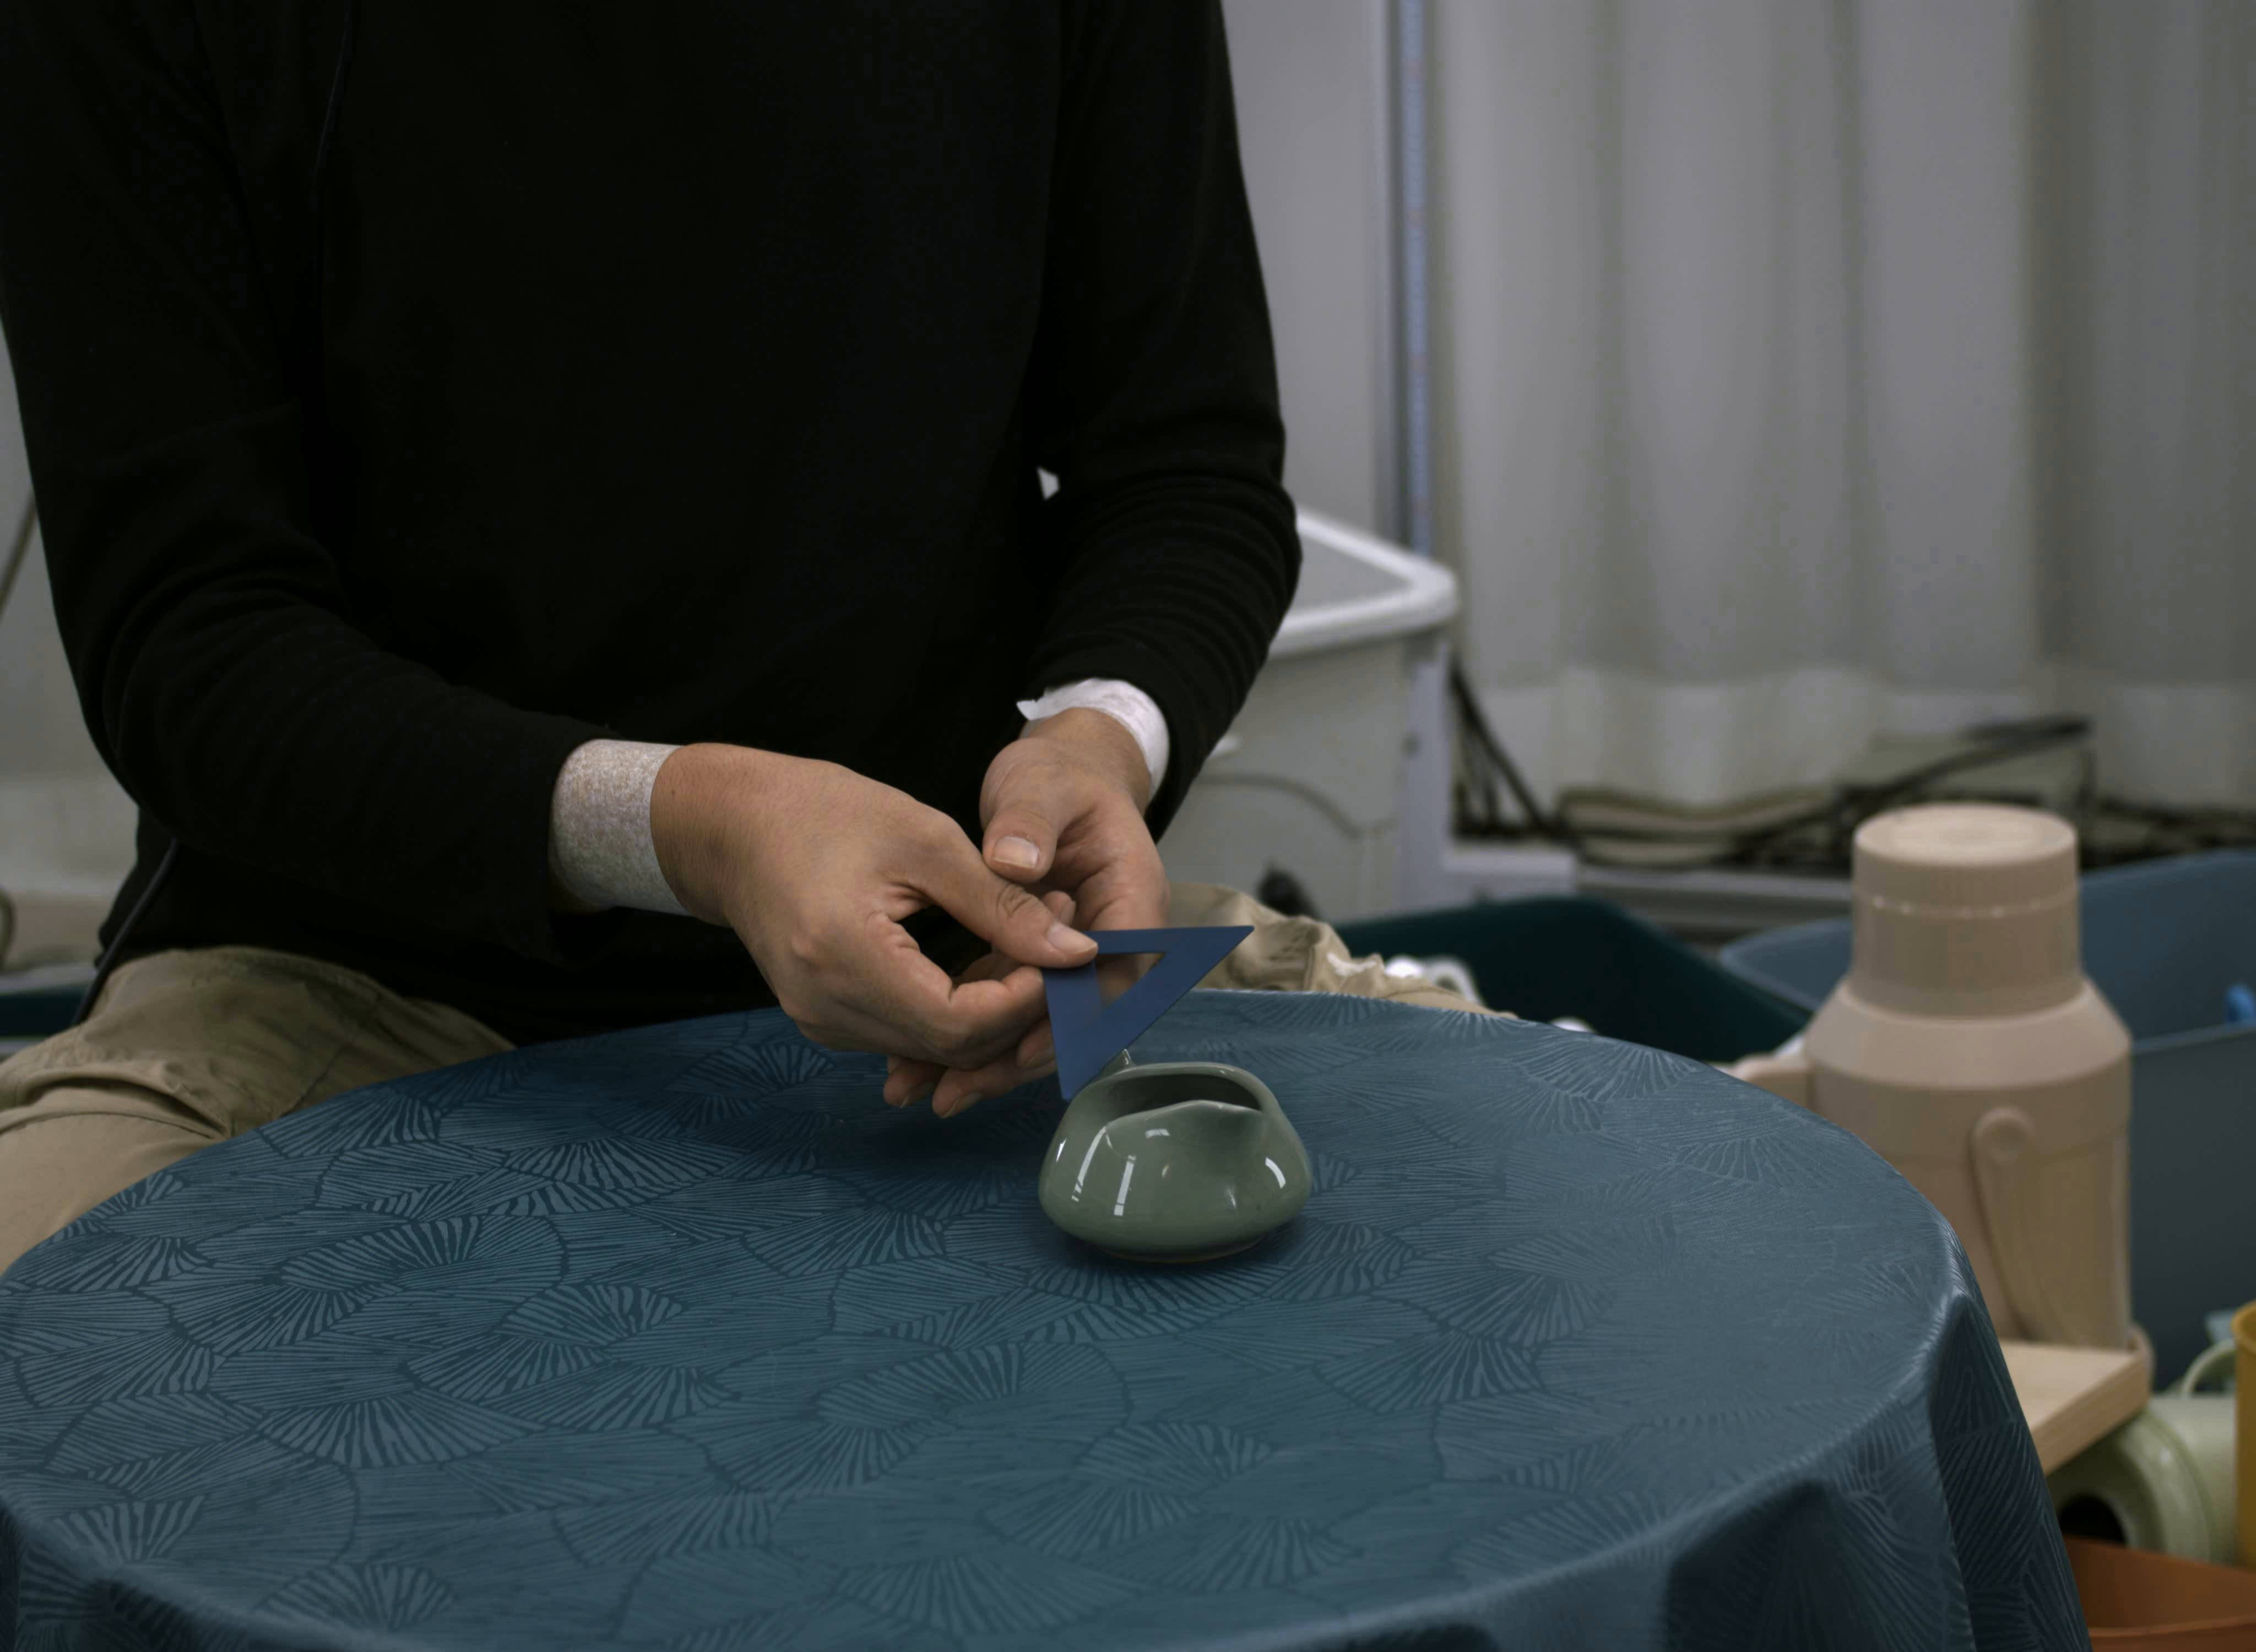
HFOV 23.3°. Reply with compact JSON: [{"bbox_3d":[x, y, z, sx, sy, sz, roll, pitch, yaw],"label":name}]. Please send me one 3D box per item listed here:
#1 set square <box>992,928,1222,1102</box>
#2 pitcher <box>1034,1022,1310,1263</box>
[{"bbox_3d":[-0.025,0.054,1.711,0.061,0.006,0.132,13,27,26],"label":"set square"},{"bbox_3d":[0.010,0.097,1.670,0.084,0.056,0.113,-8,15,-28],"label":"pitcher"}]
